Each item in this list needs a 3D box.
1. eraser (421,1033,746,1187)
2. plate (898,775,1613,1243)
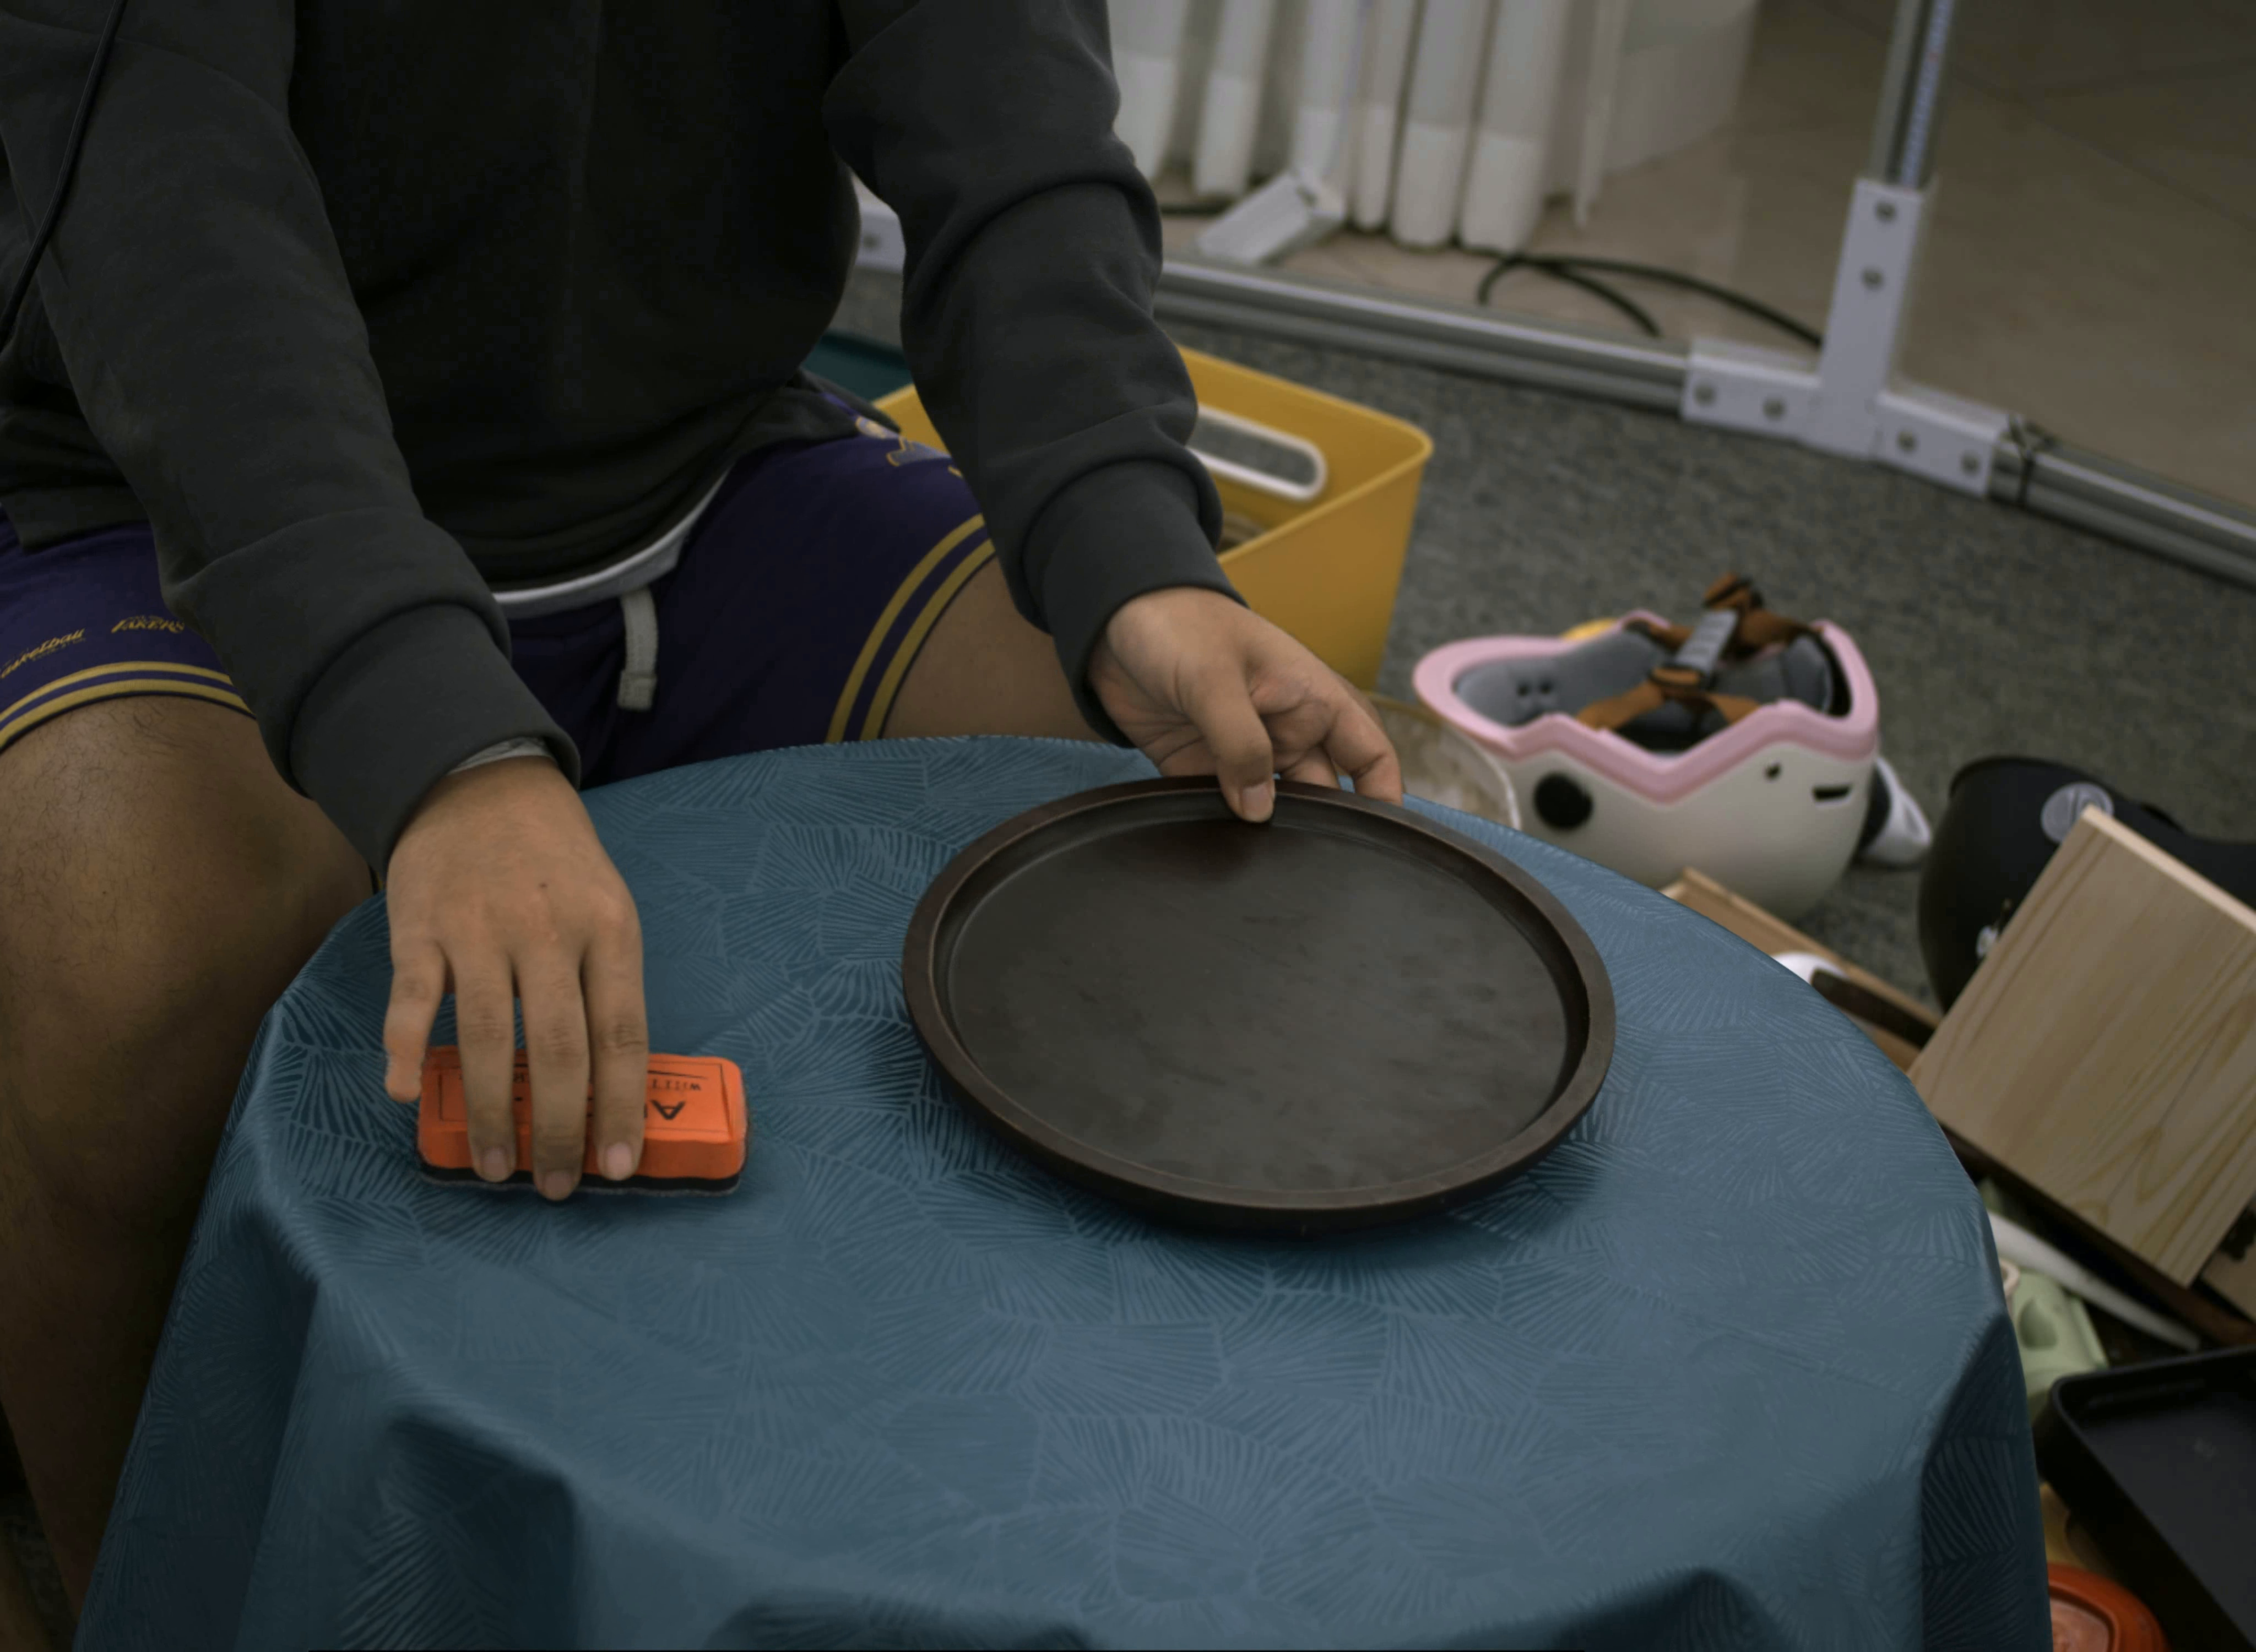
[{"bbox_3d":[-0.183,0.095,1.782,0.107,0.023,0.059,2,30,-7],"label":"eraser"},{"bbox_3d":[0.045,0.063,1.873,0.254,0.029,0.256,2,35,-1],"label":"plate"}]
